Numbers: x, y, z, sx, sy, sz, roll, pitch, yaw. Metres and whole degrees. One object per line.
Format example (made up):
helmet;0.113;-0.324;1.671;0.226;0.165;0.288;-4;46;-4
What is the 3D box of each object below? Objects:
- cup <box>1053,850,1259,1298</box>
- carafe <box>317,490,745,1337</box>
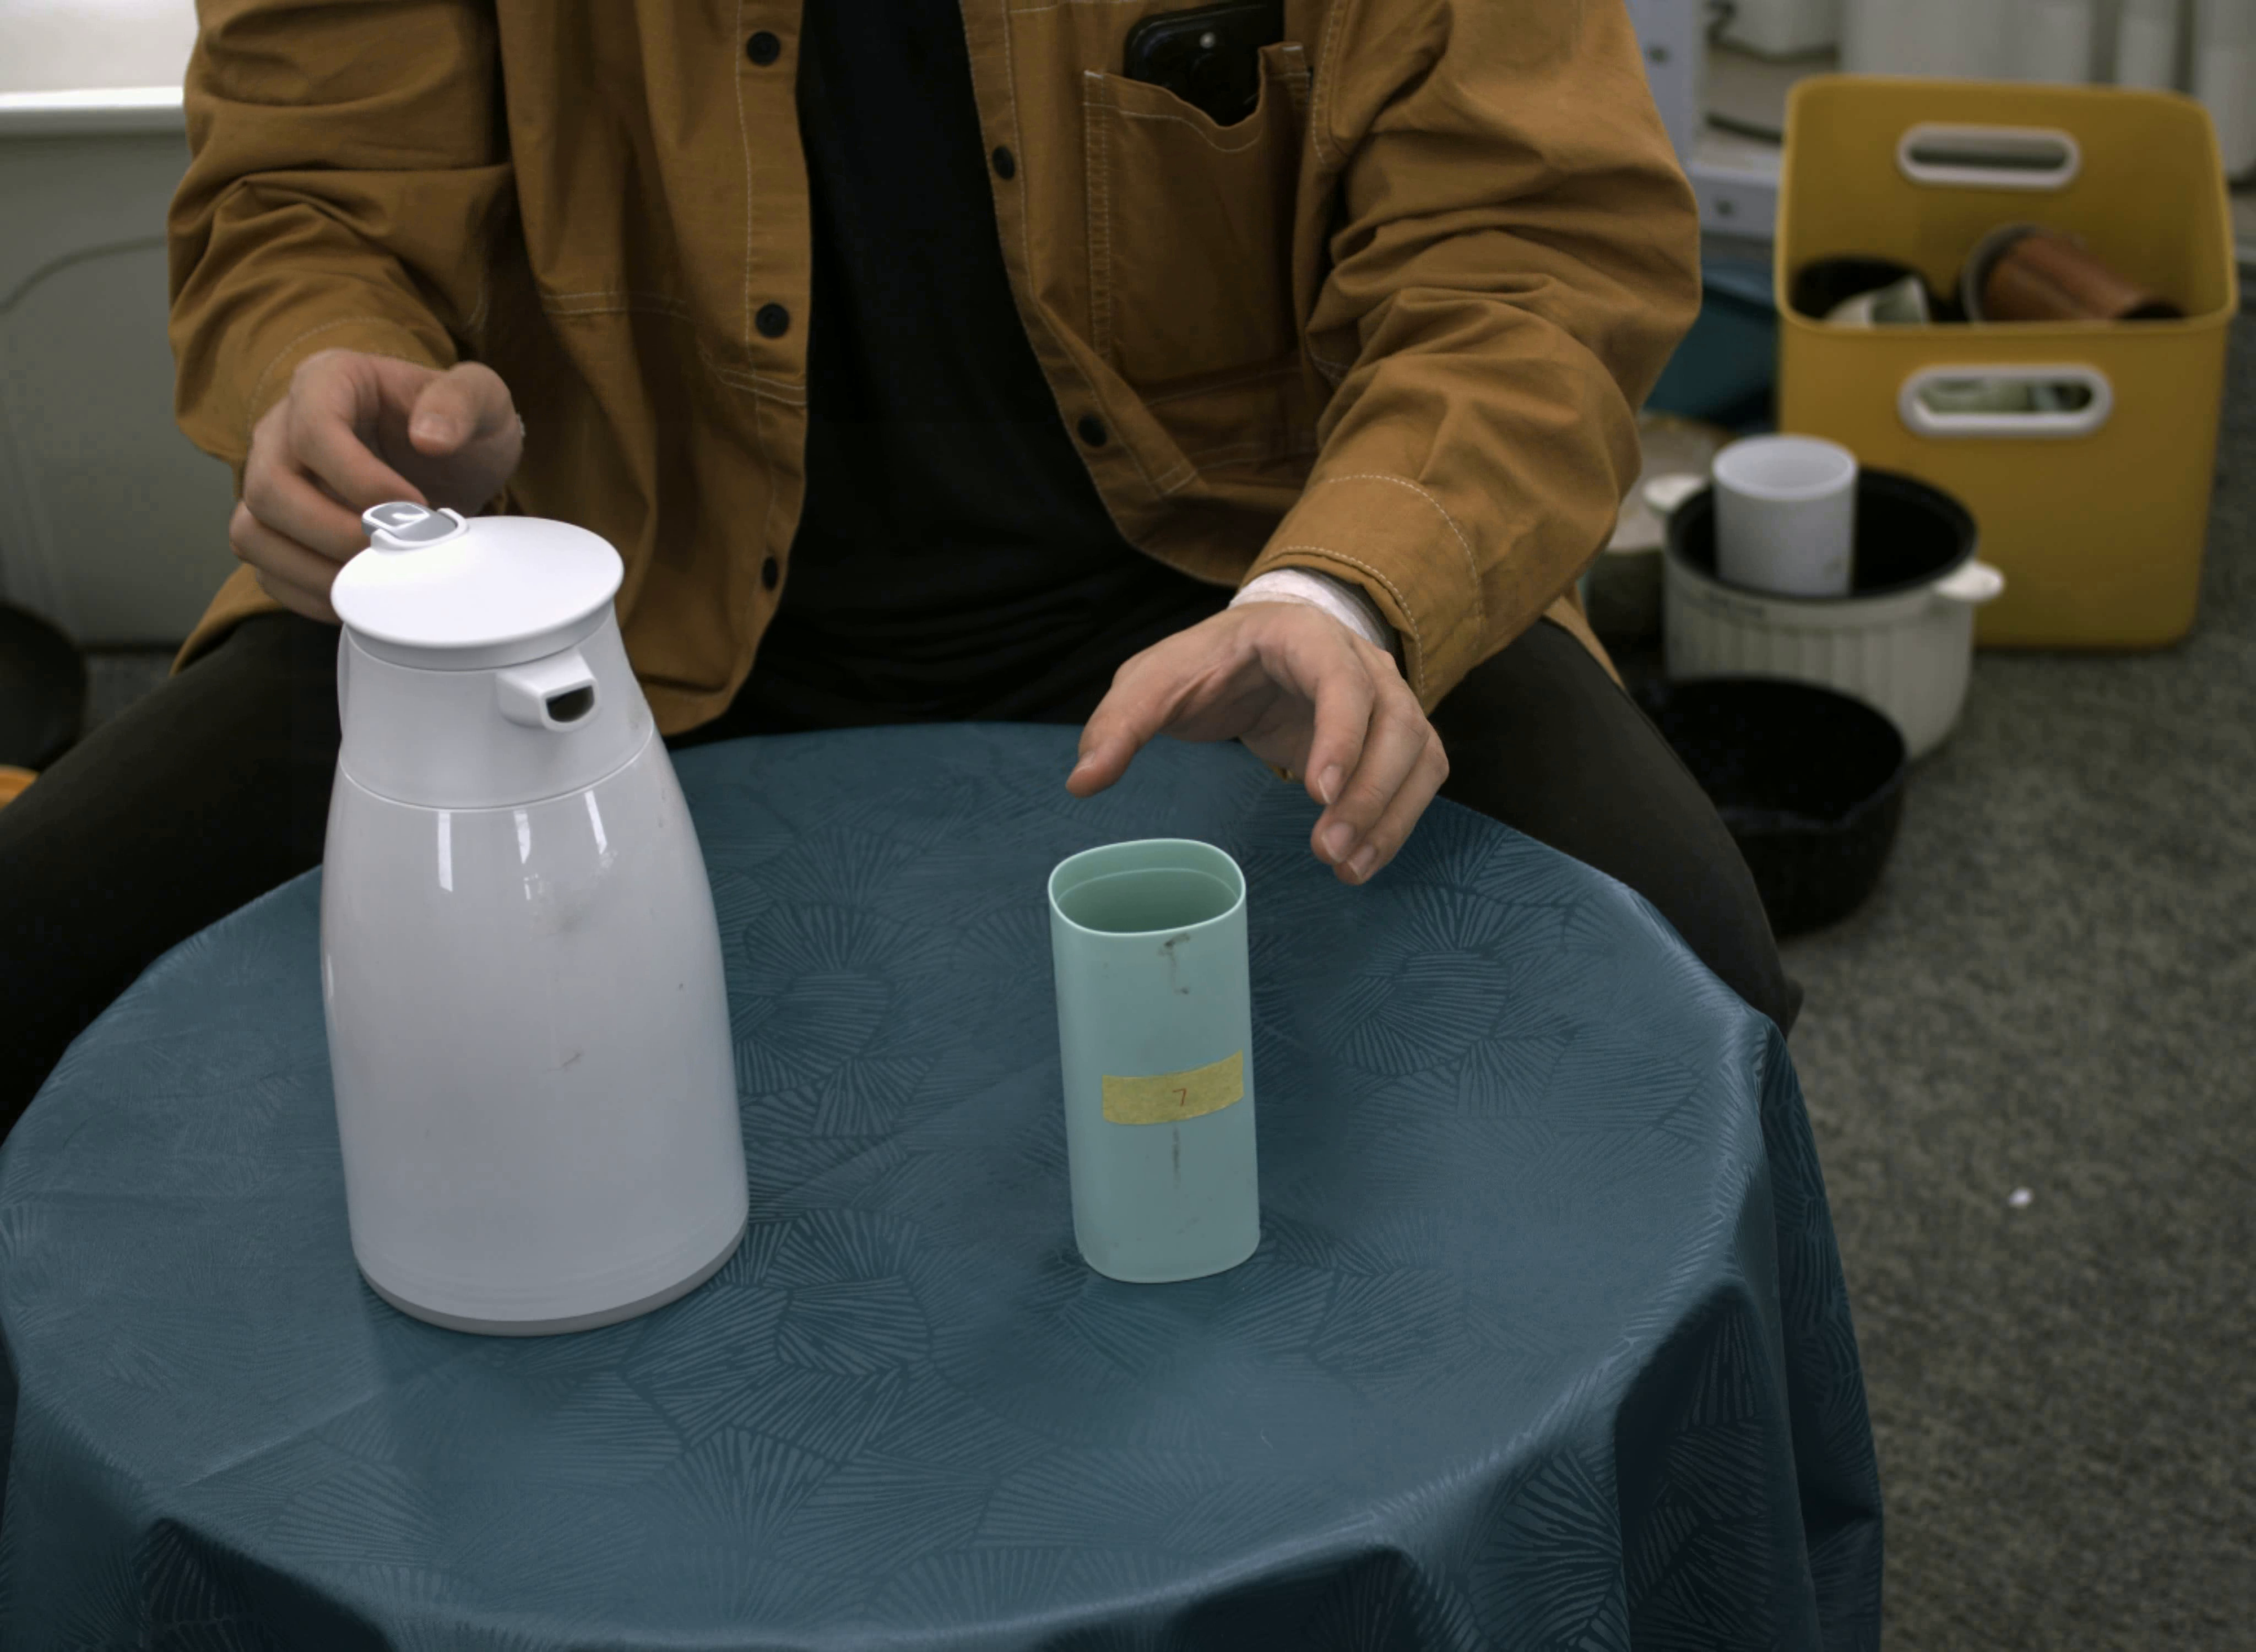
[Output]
cup;0.010;0.079;1.807;0.066;0.131;0.068;-2;26;1
carafe;-0.208;0.018;1.814;0.133;0.246;0.168;-19;30;-28
